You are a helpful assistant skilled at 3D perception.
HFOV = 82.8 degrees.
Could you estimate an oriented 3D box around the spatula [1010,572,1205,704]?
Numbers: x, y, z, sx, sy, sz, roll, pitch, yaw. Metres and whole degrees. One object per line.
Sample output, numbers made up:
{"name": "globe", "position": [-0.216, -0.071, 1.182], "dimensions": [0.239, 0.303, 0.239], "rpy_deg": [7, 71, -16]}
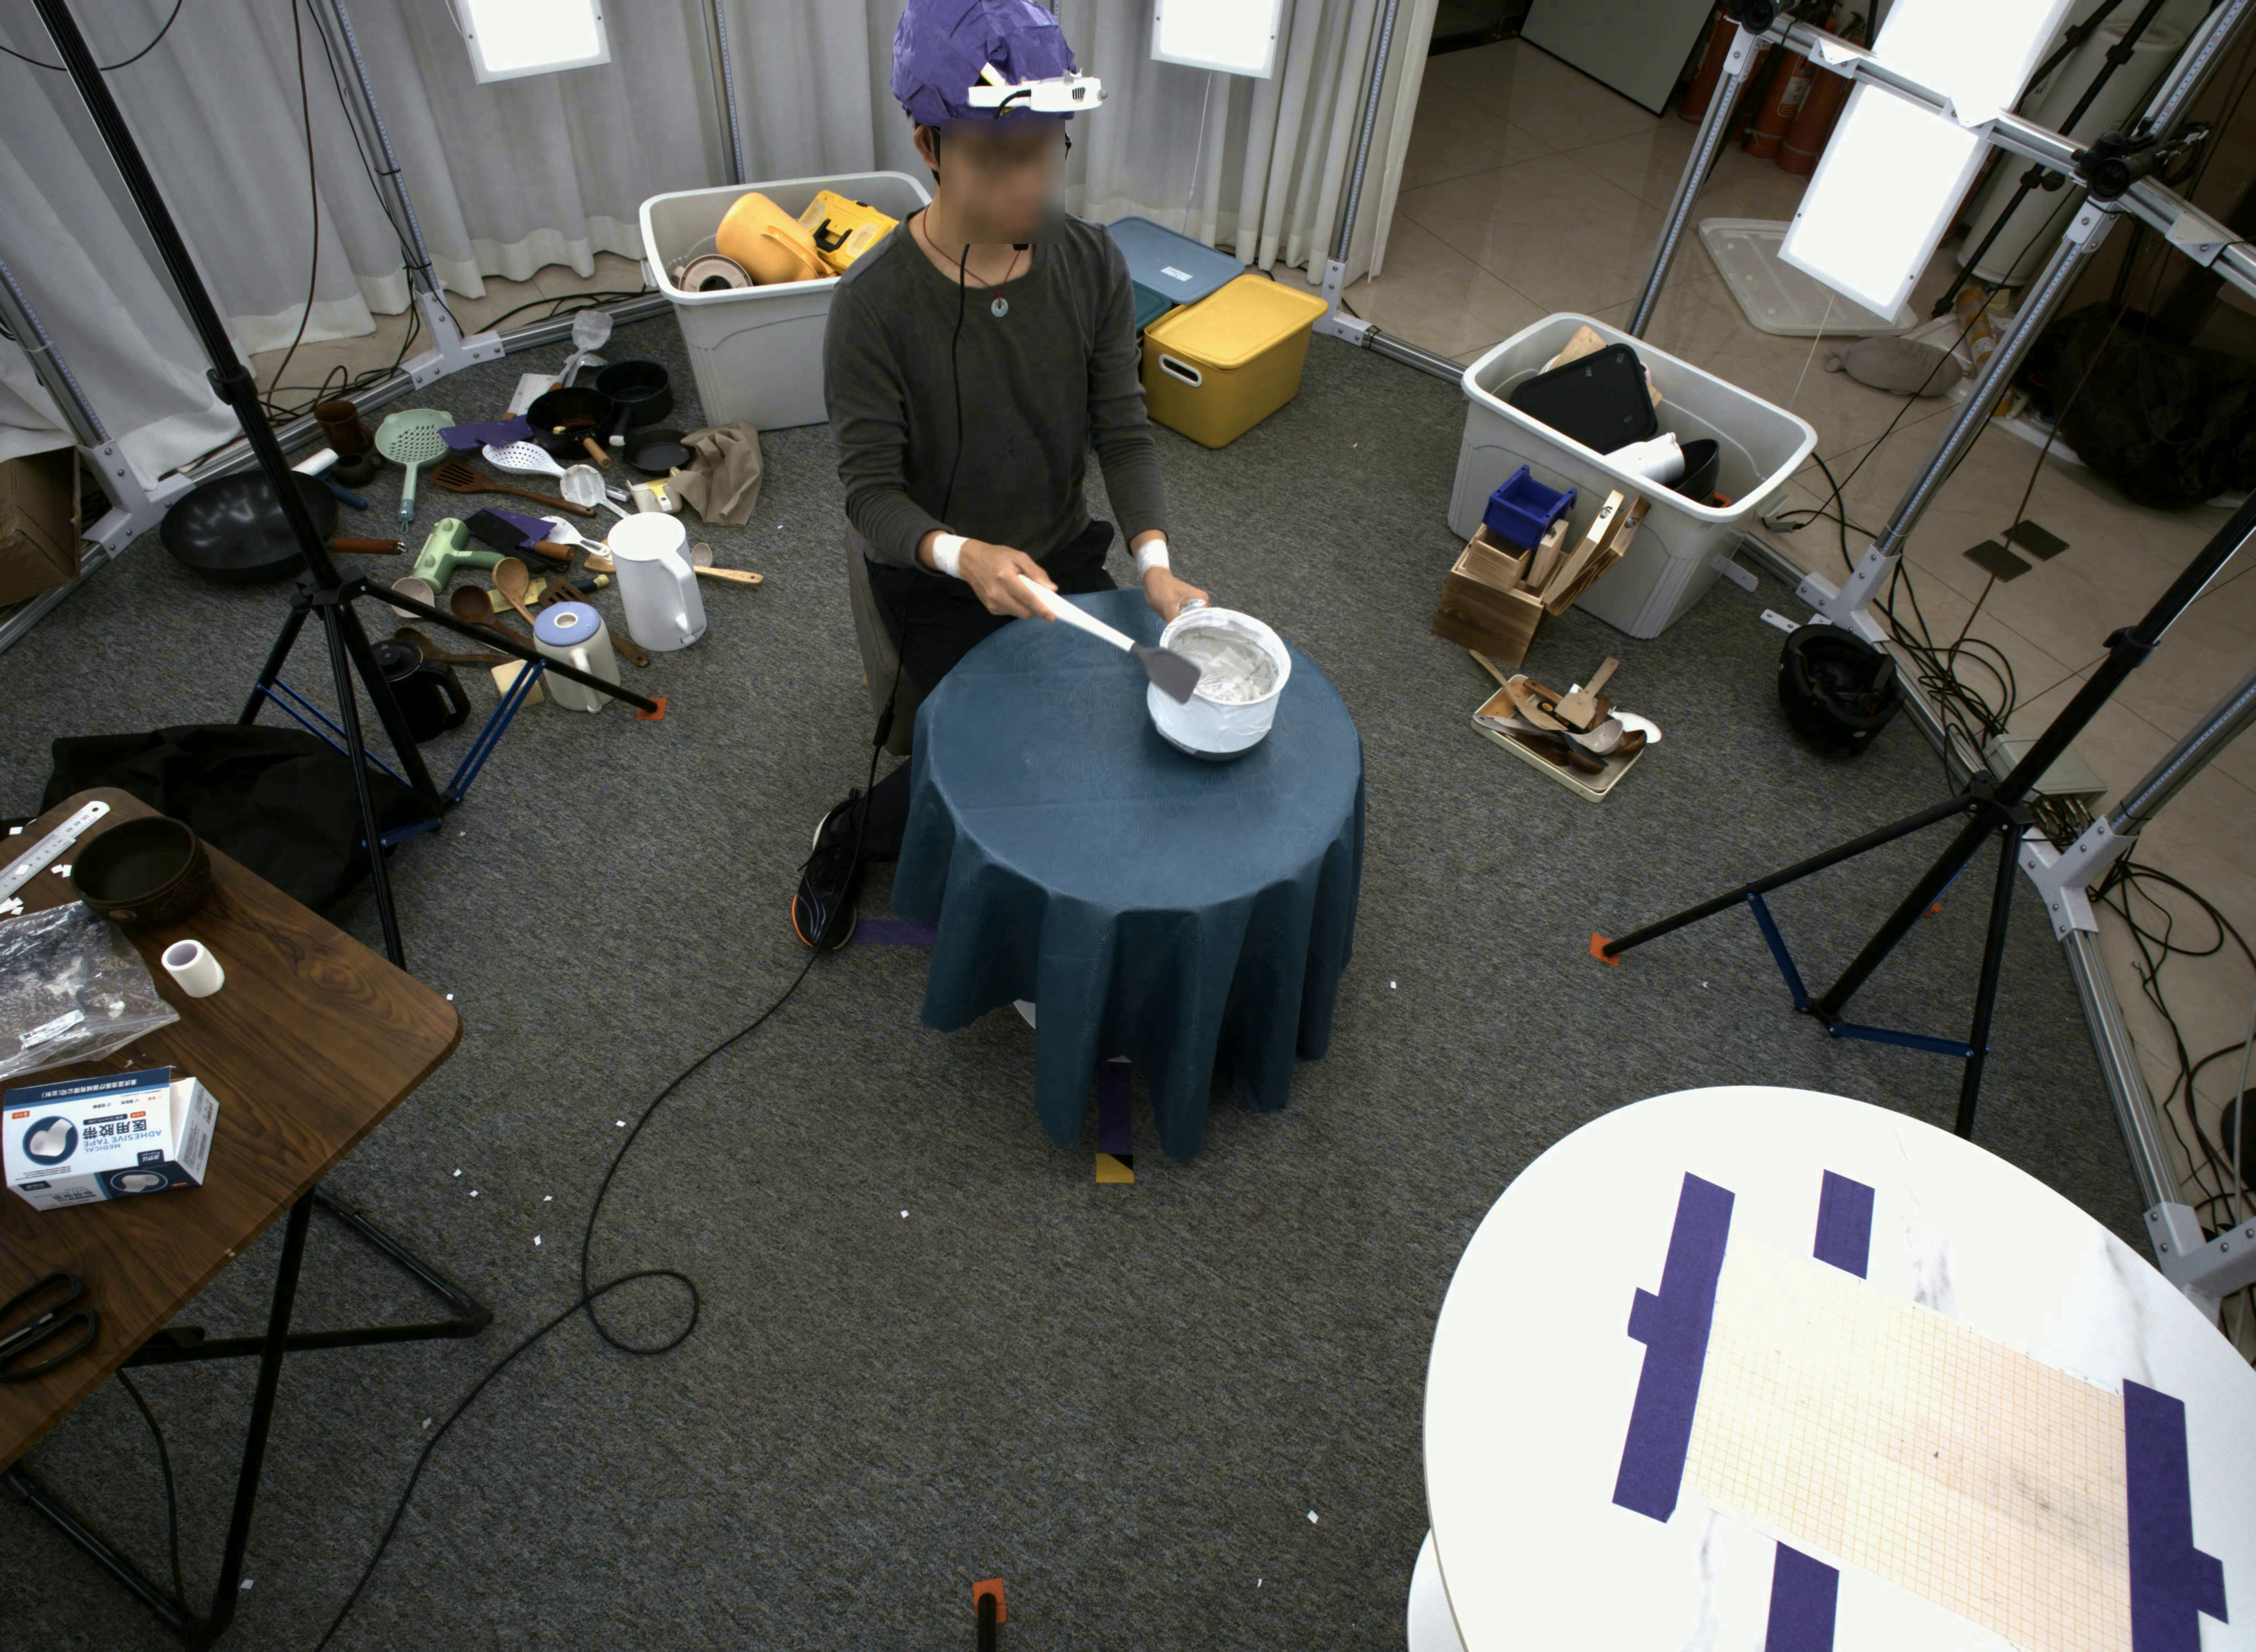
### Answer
{"name": "spatula", "position": [-0.026, -0.244, 1.627], "dimensions": [0.290, 0.058, 0.032], "rpy_deg": [31, 14, 18]}

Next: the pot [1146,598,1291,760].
{"name": "pot", "position": [0.109, -0.211, 1.753], "dimensions": [0.178, 0.133, 0.239], "rpy_deg": [-10, 55, -18]}
